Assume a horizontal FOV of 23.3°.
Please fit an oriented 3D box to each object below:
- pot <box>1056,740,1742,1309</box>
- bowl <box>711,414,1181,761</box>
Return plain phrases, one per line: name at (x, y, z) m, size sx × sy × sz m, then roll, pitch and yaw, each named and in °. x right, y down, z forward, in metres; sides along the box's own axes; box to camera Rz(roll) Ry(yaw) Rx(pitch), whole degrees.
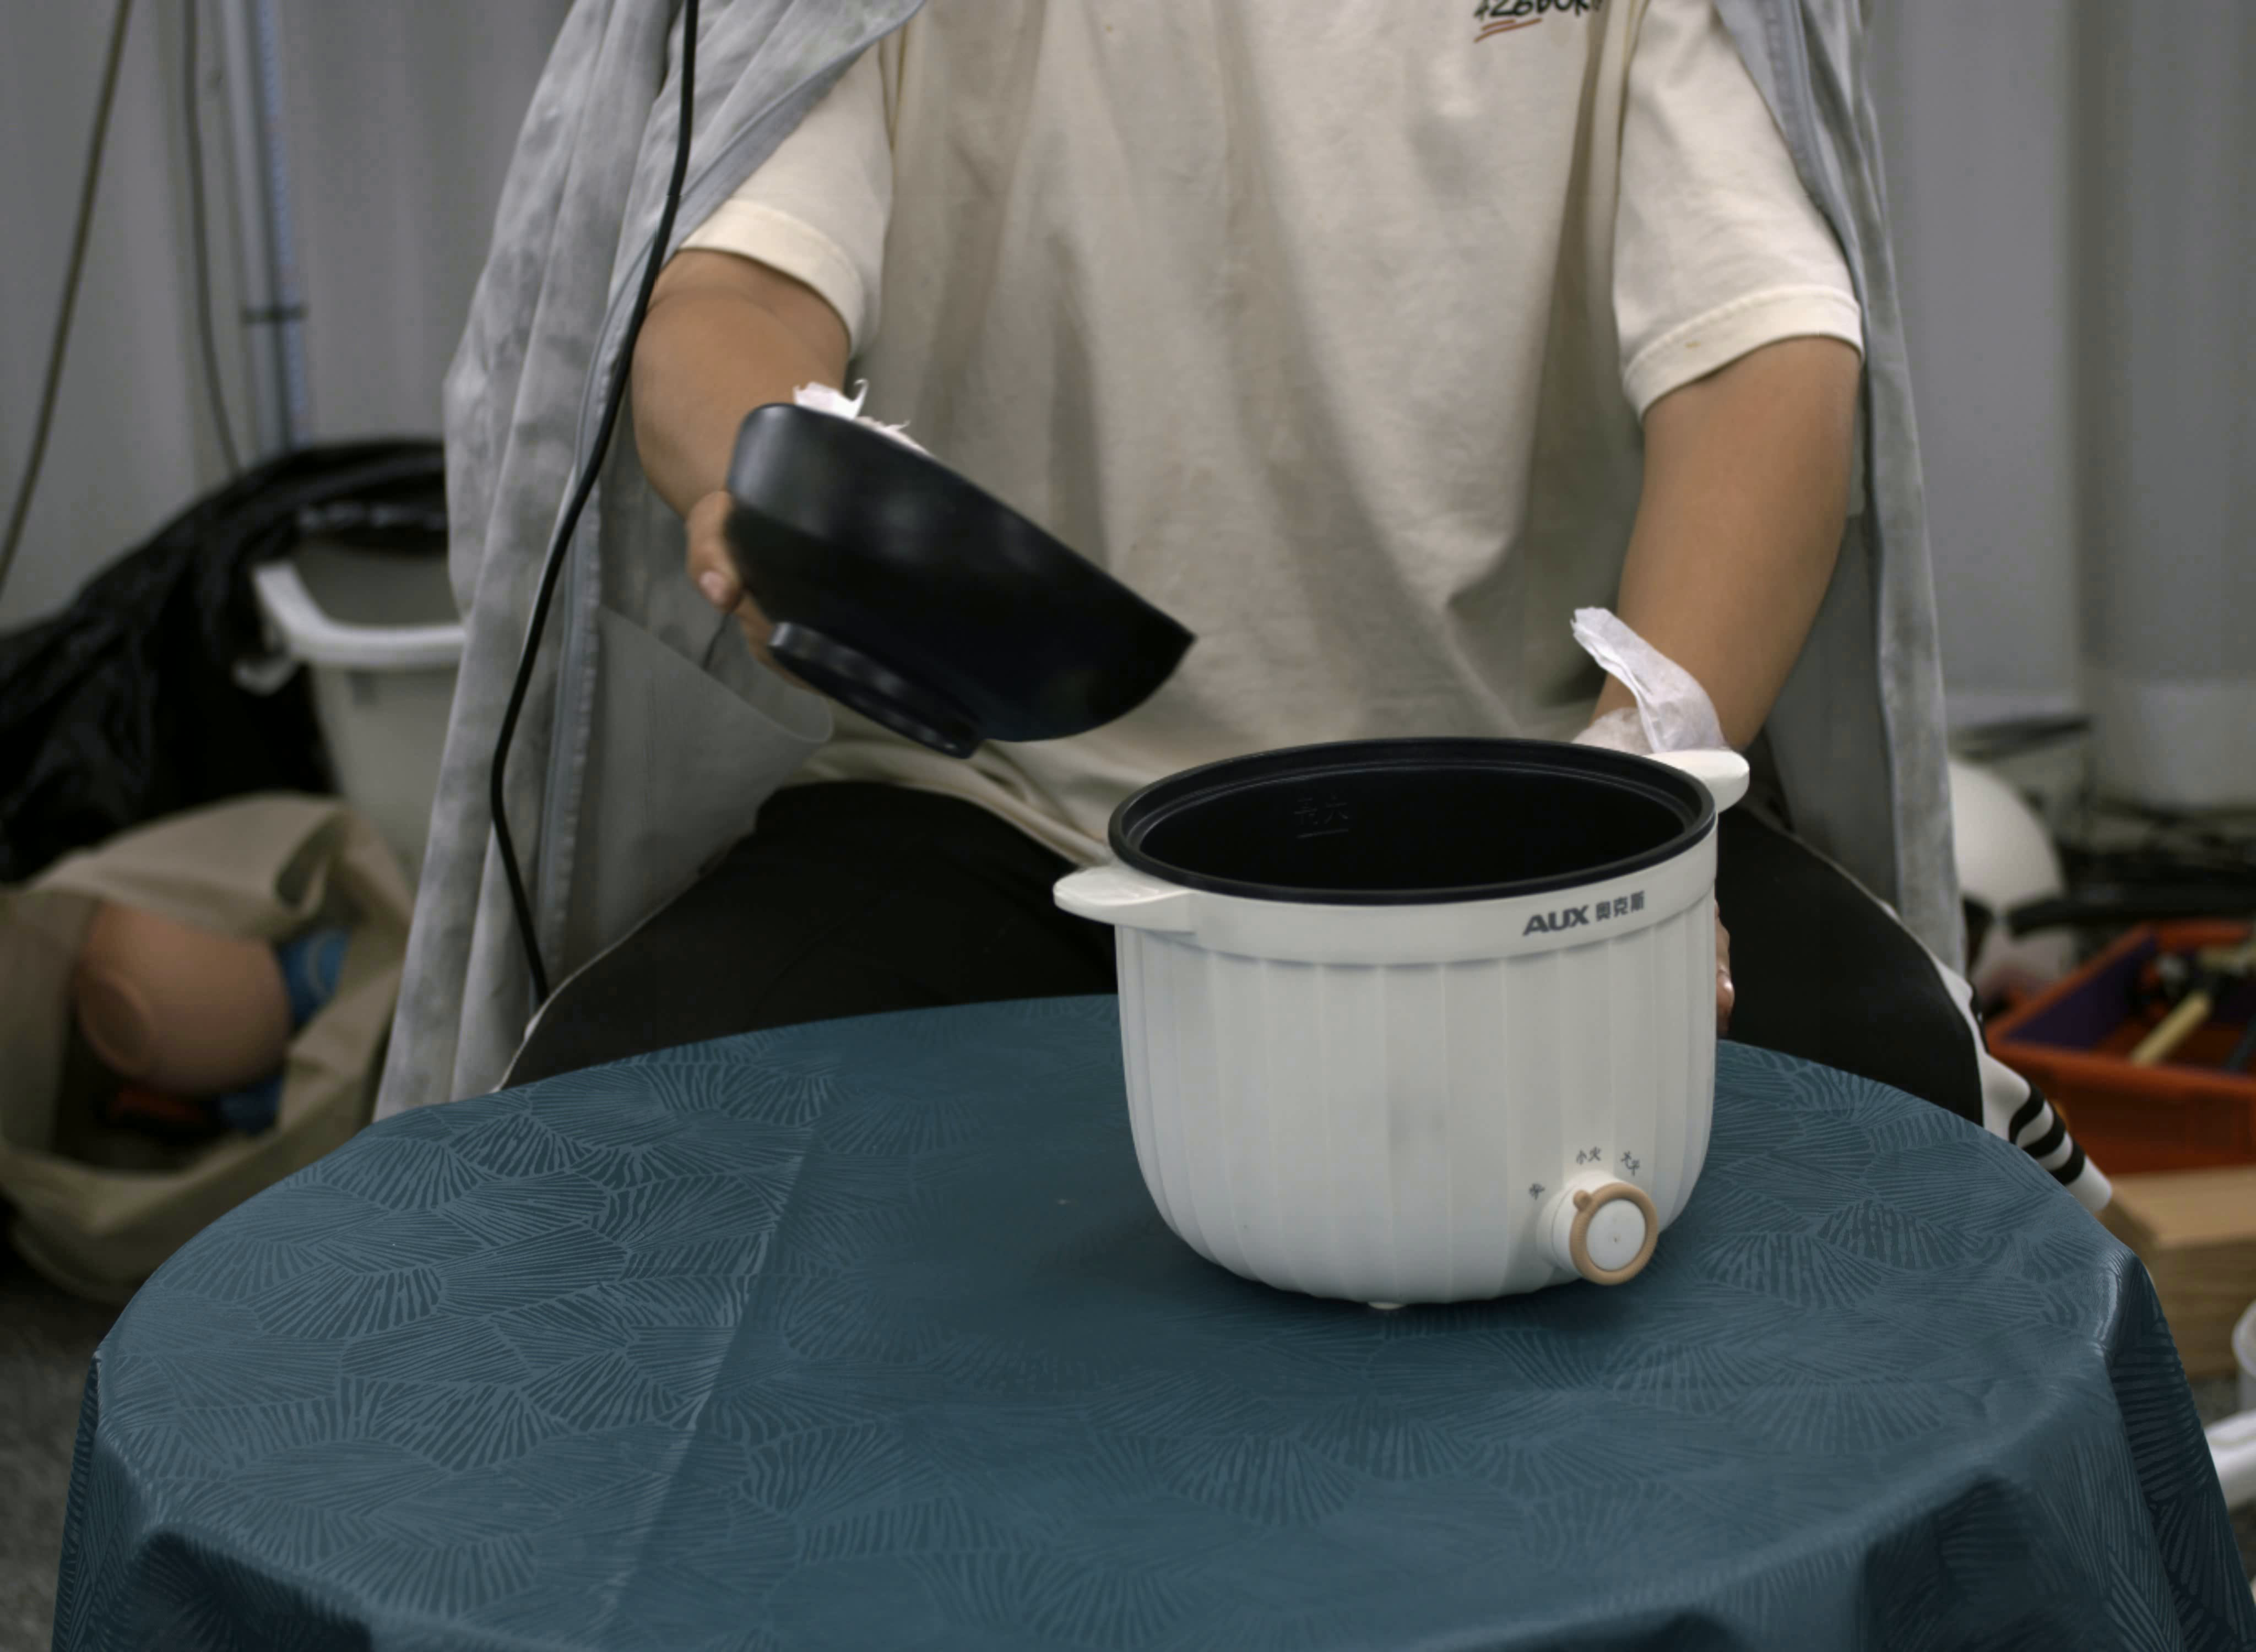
pot at (0.091, 0.061, 1.639) m, size 0.239 × 0.142 × 0.191 m, roll -12°, pitch 14°, yaw -29°
bowl at (-0.066, -0.062, 1.605) m, size 0.136 × 0.067 × 0.171 m, roll 33°, pitch -9°, yaw -37°
